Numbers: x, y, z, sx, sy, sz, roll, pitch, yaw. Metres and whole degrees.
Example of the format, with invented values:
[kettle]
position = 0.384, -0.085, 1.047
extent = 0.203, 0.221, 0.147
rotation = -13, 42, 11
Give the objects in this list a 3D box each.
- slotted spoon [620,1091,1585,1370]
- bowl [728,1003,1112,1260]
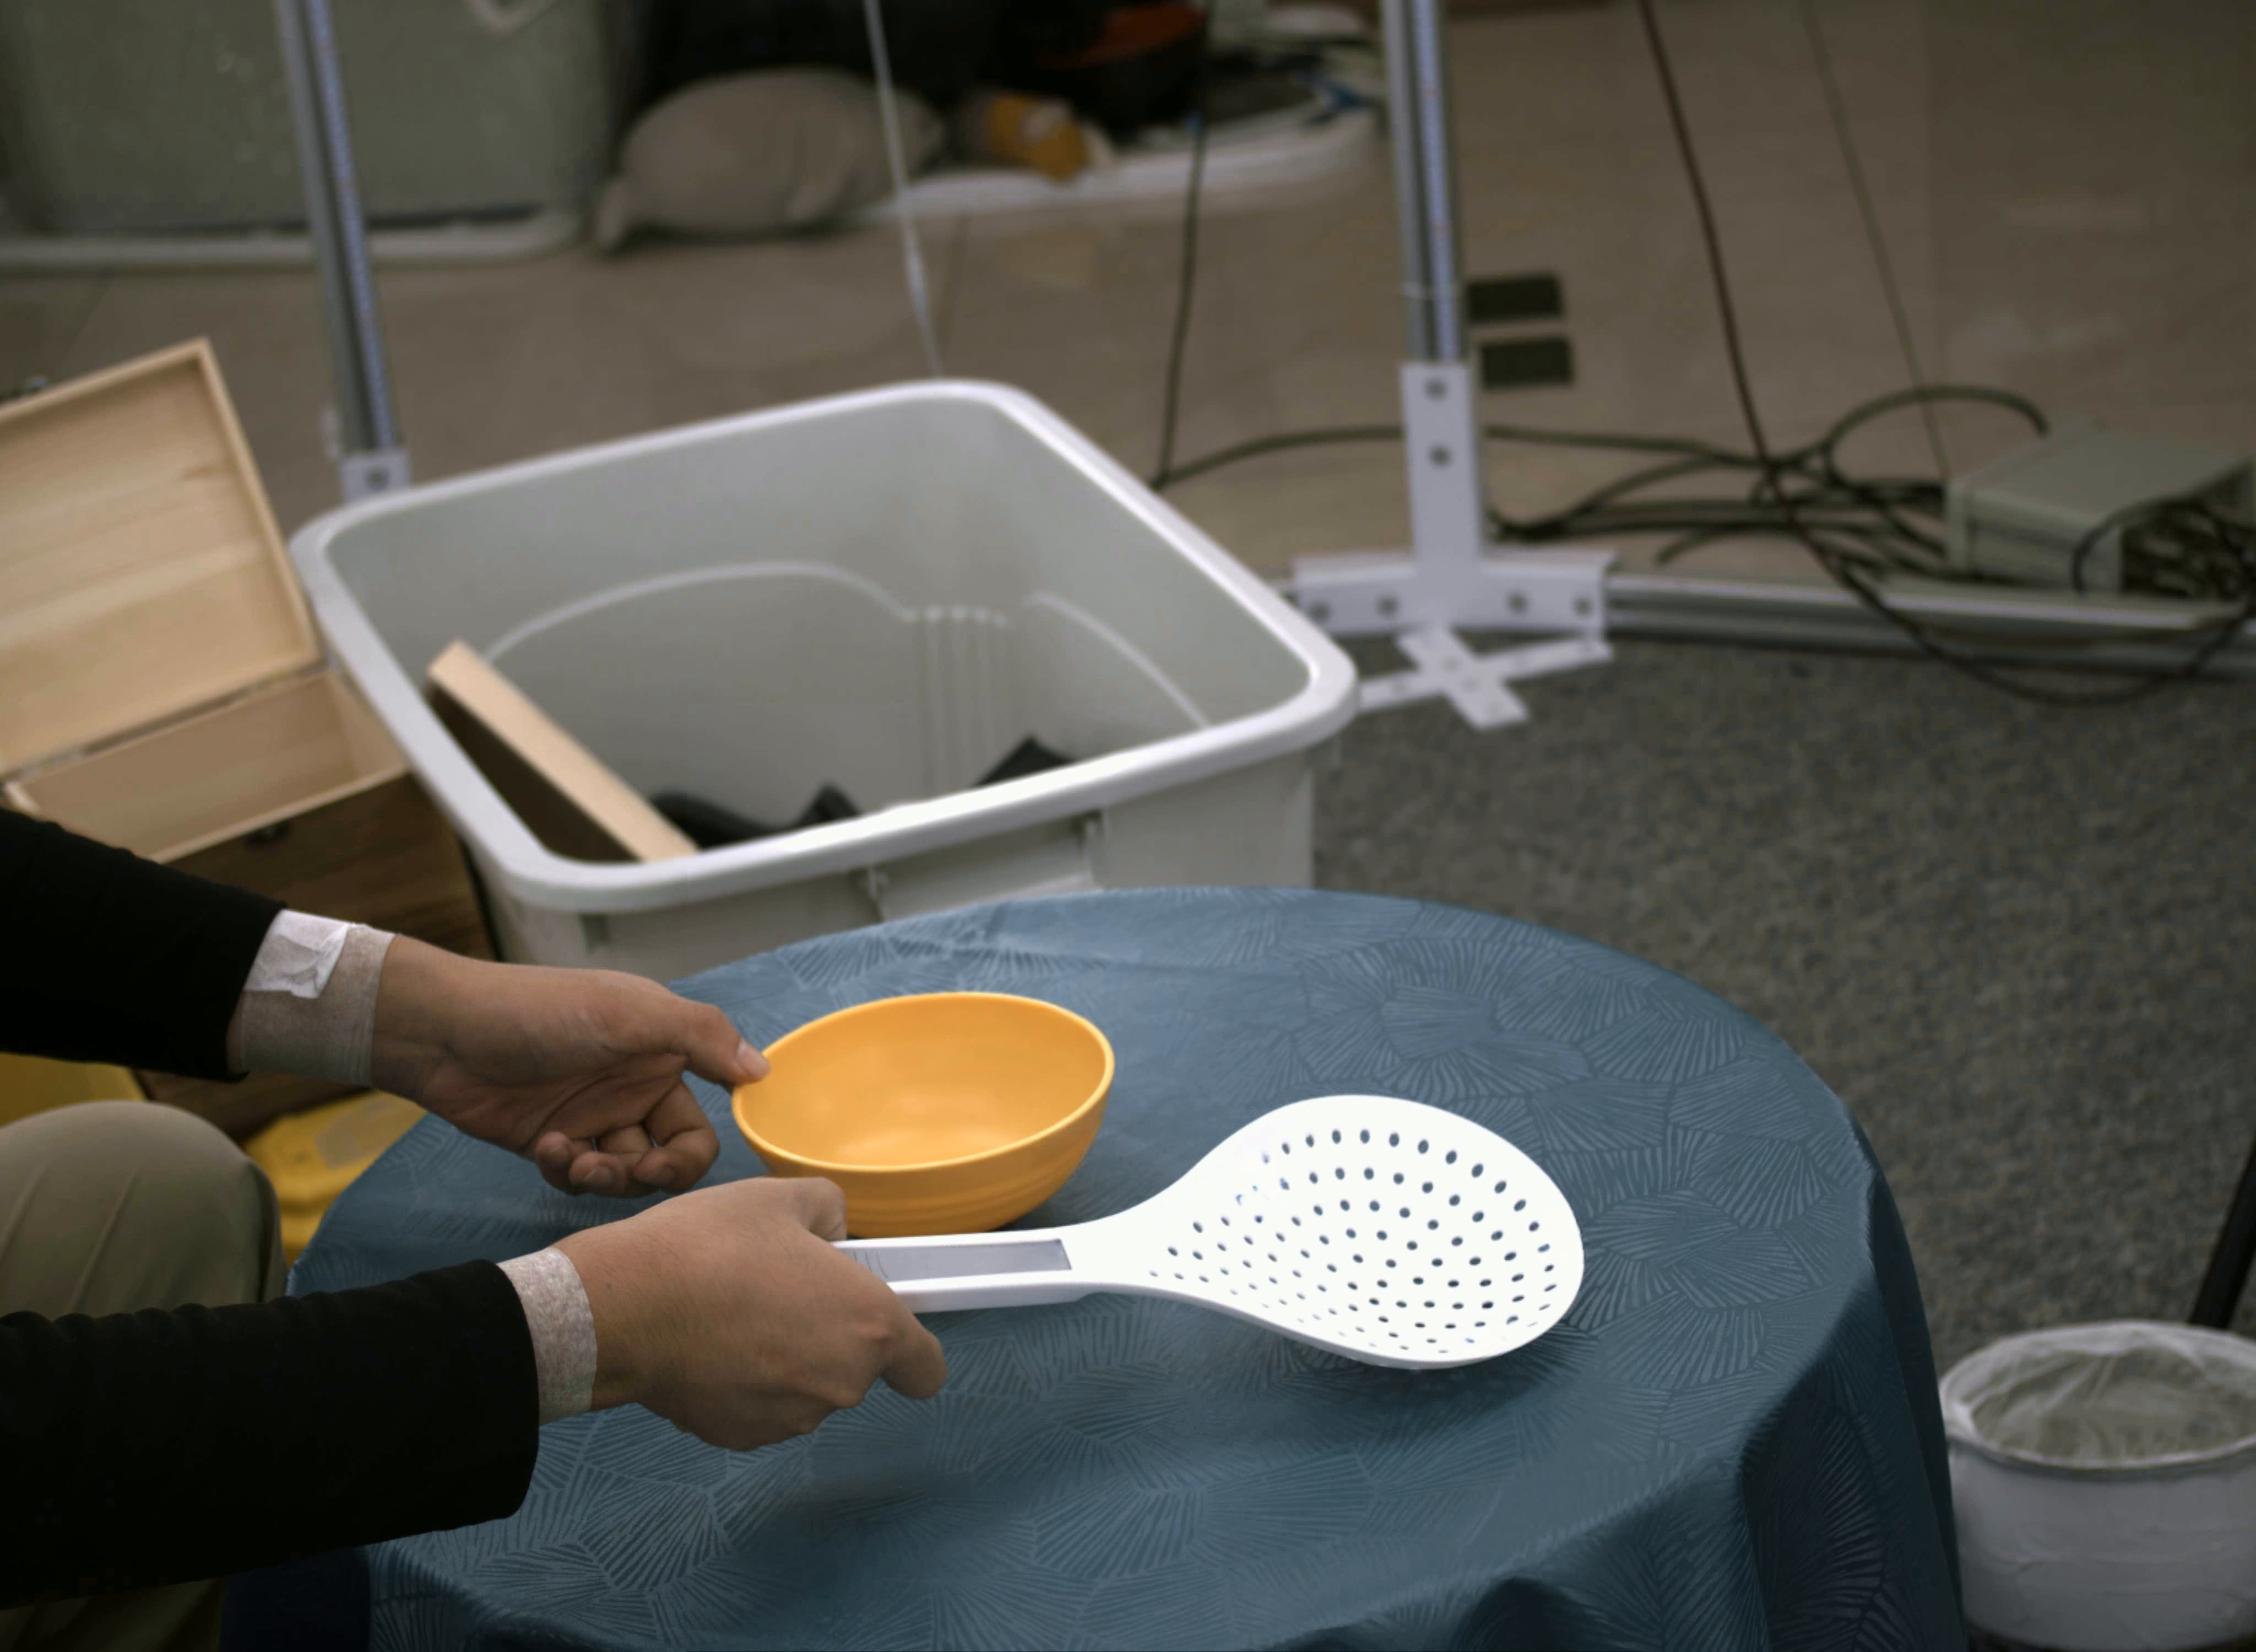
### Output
[slotted spoon]
position = -0.007, 0.153, 1.985
extent = 0.349, 0.046, 0.133
rotation = 0, 42, -23
[bowl]
position = -0.076, 0.122, 2.135
extent = 0.145, 0.061, 0.143
rotation = -4, 23, 2
